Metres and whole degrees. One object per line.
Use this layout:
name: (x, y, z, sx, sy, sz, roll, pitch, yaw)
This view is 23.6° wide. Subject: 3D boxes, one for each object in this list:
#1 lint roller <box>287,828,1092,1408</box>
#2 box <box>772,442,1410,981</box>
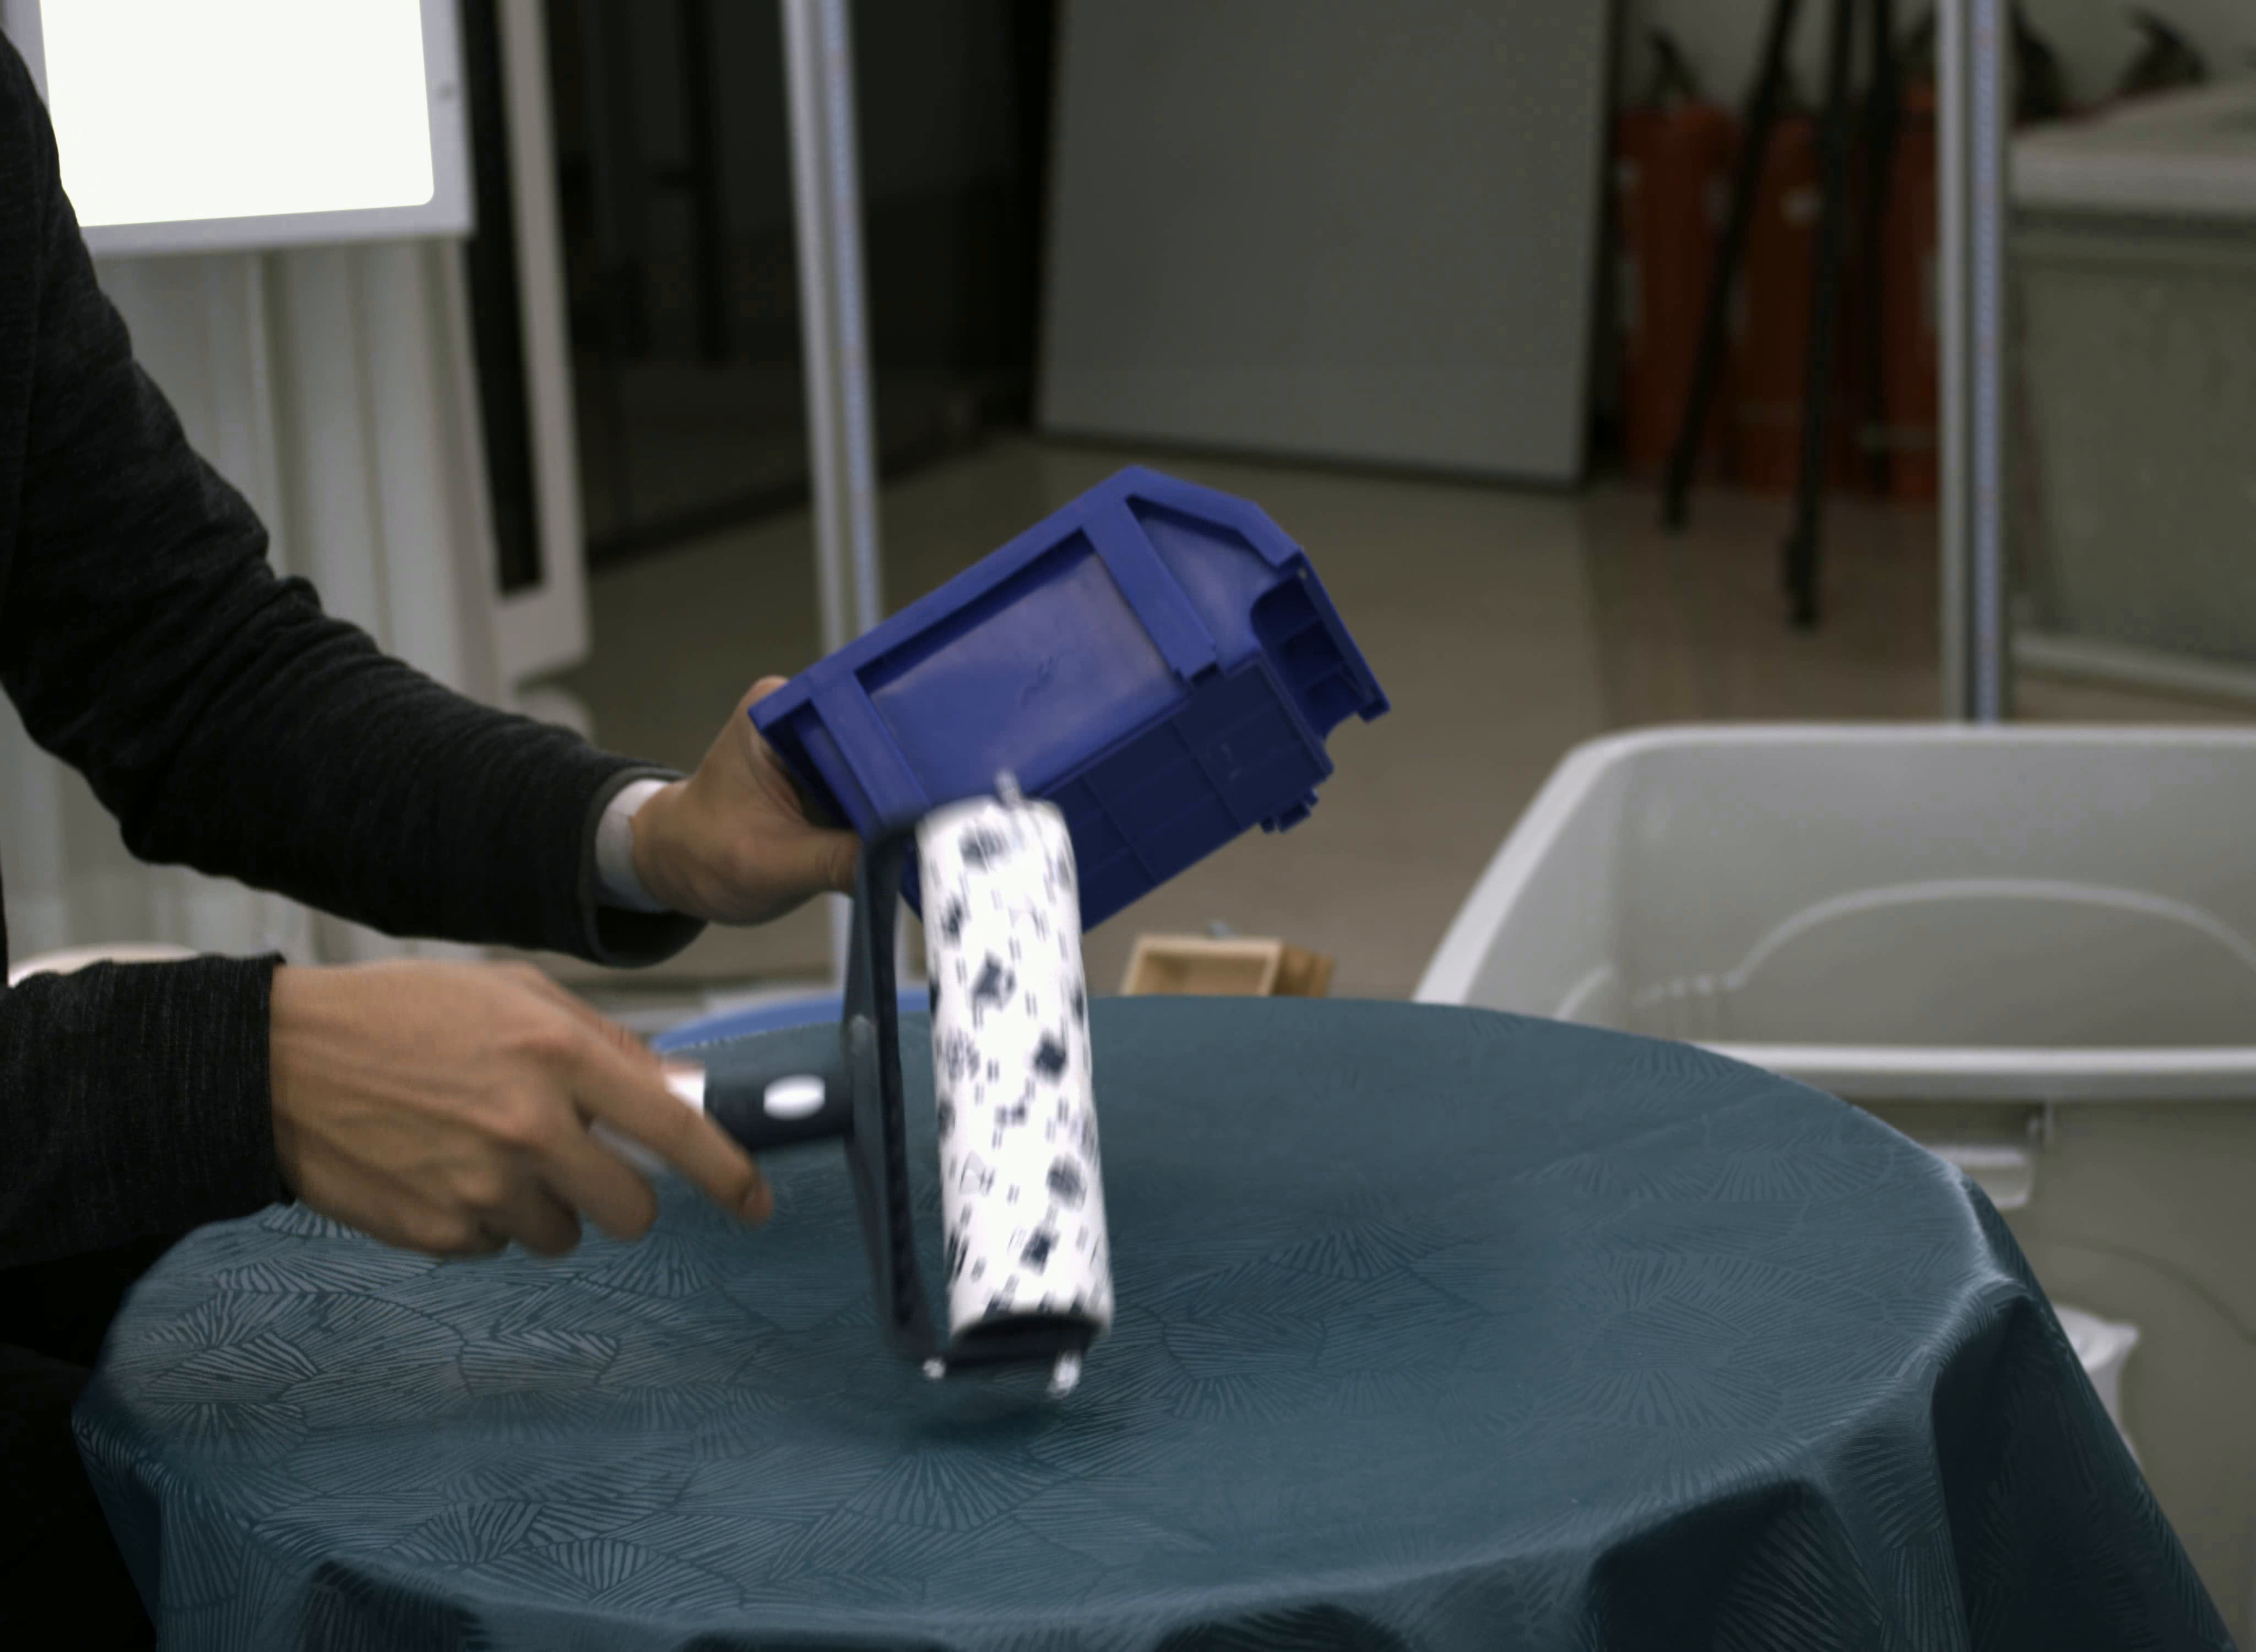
lint roller: (-0.133, 0.096, 1.607, 0.245, 0.178, 0.050, -7, -29, 7)
box: (-0.005, -0.036, 1.766, 0.179, 0.123, 0.083, -36, 58, 2)
